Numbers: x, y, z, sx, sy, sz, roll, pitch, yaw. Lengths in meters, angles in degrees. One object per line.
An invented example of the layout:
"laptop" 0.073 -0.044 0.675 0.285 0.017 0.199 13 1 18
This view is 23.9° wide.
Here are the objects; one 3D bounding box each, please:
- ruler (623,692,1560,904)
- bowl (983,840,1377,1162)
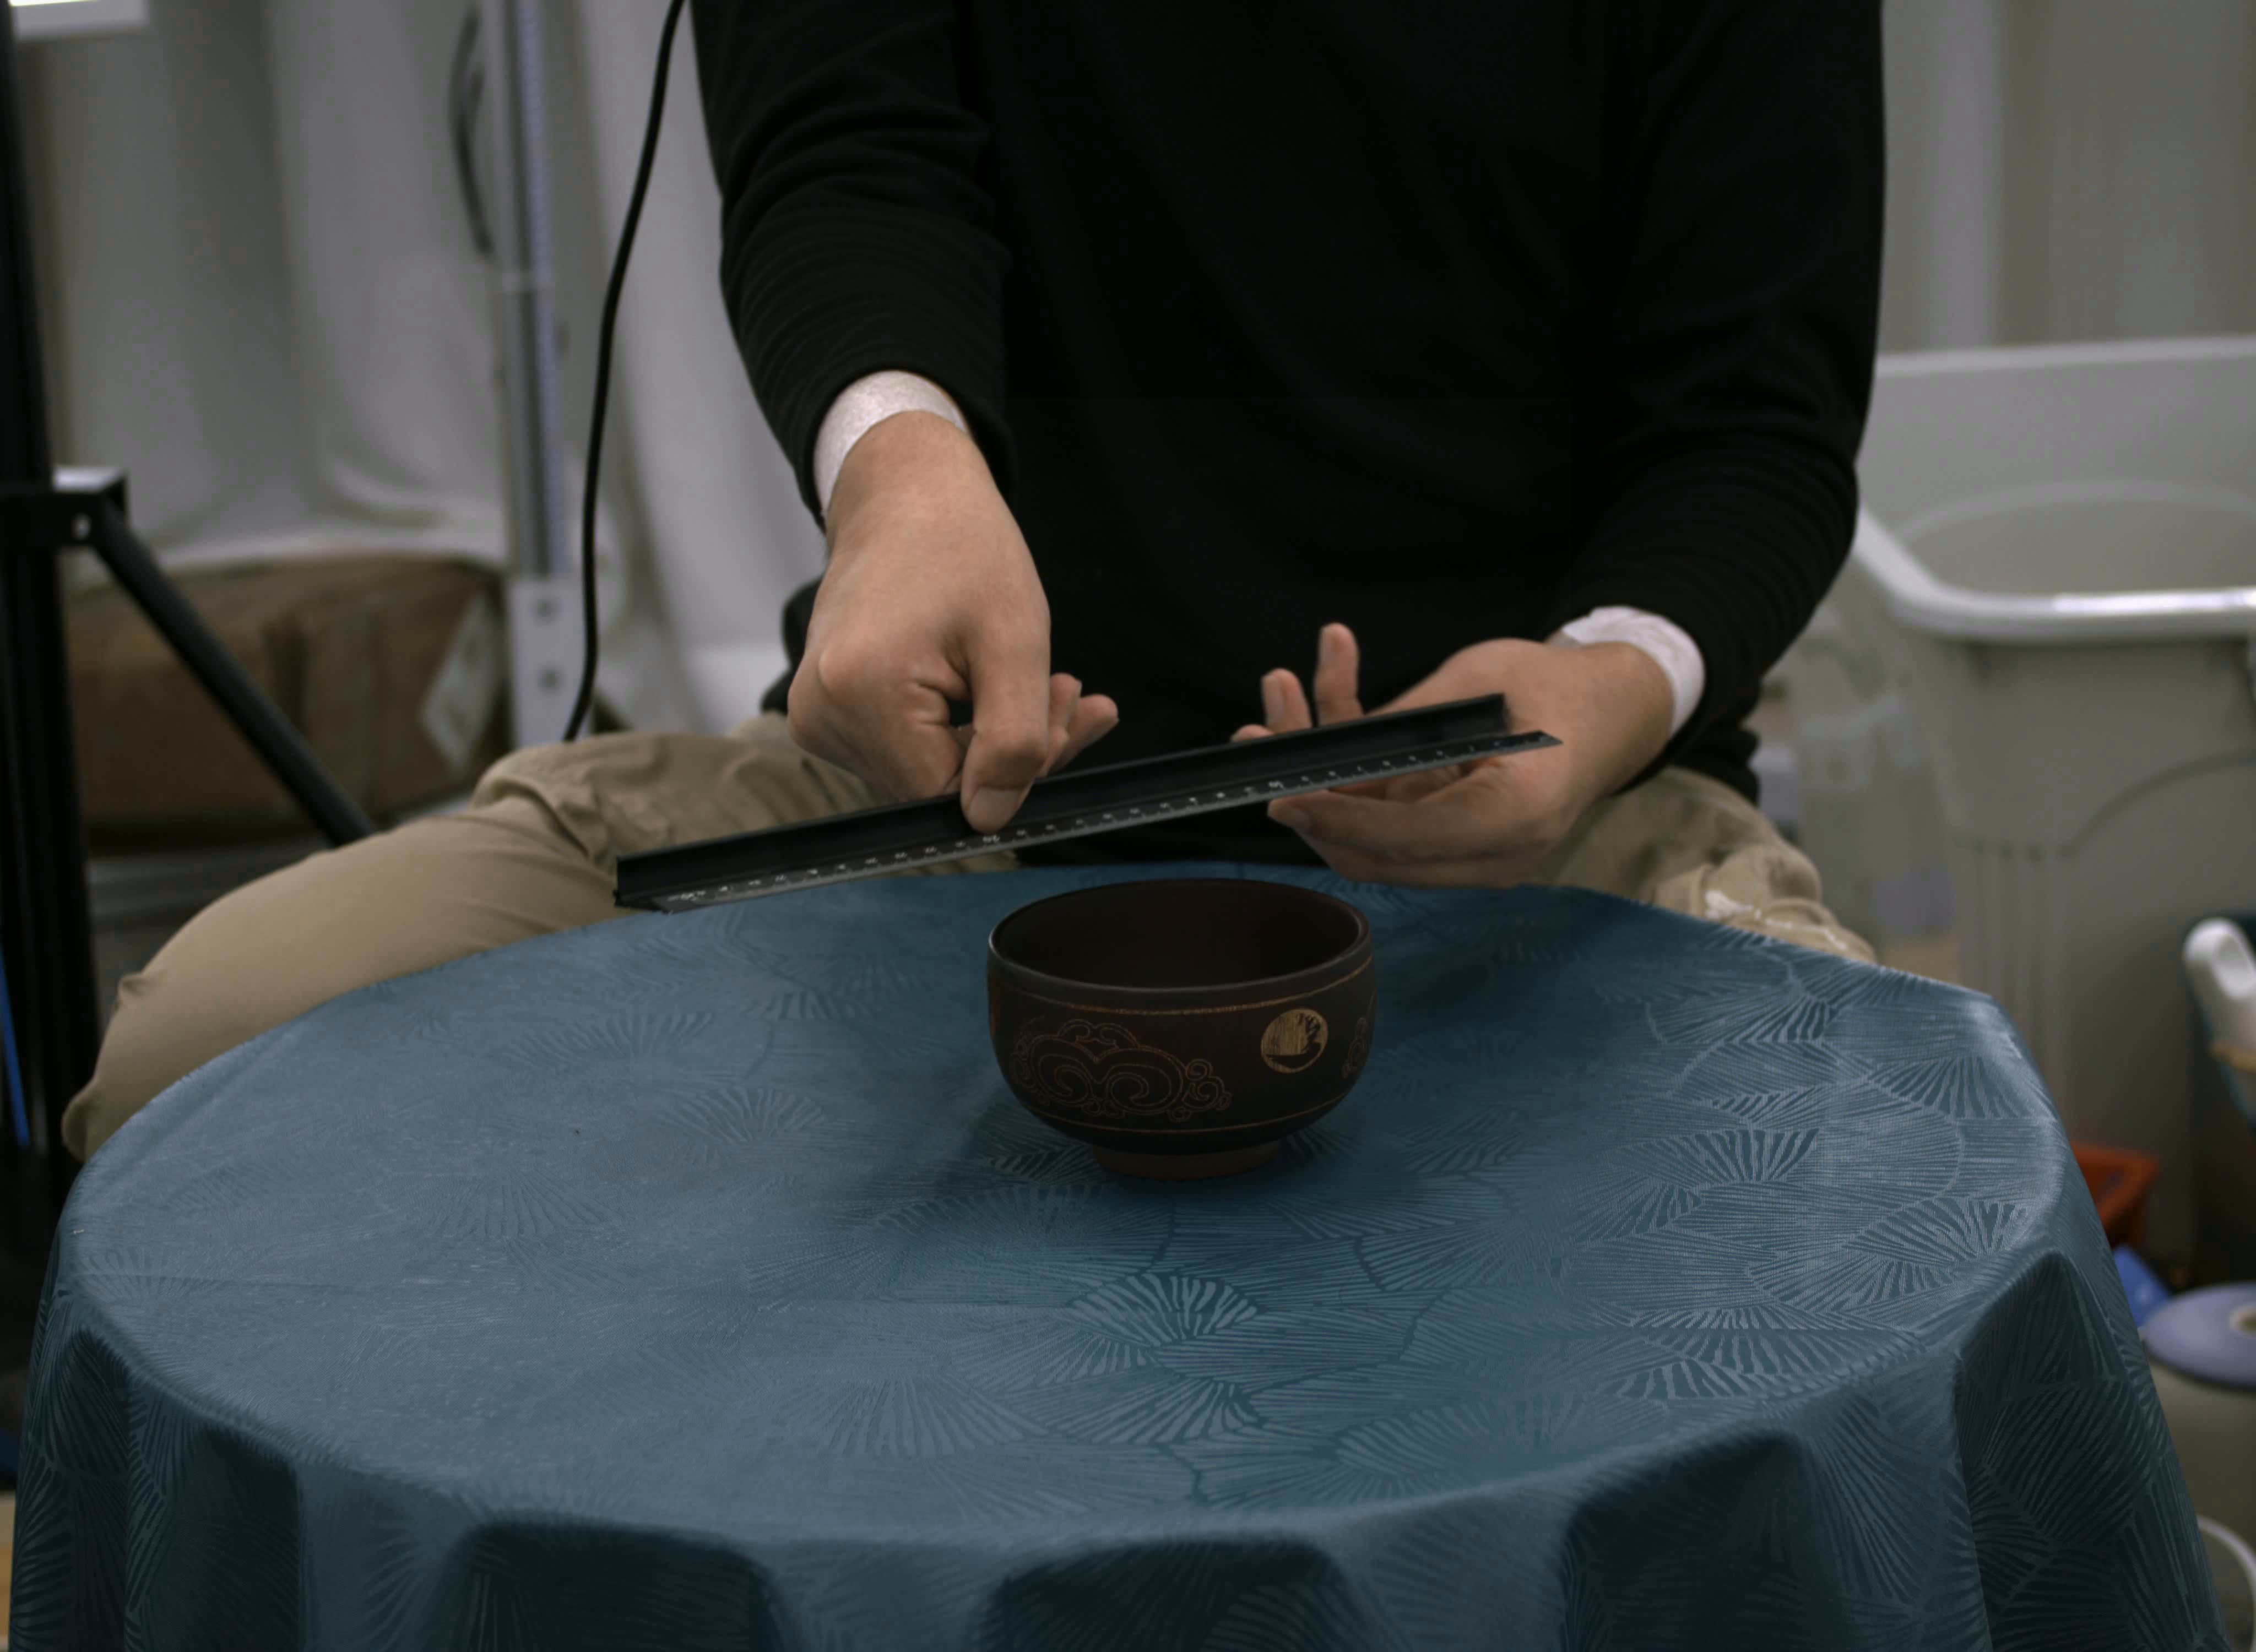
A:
"ruler" -0.006 -0.009 1.599 0.306 0.017 0.040 -10 11 -28
"bowl" 0.016 0.057 1.583 0.117 0.070 0.119 -2 22 -1
